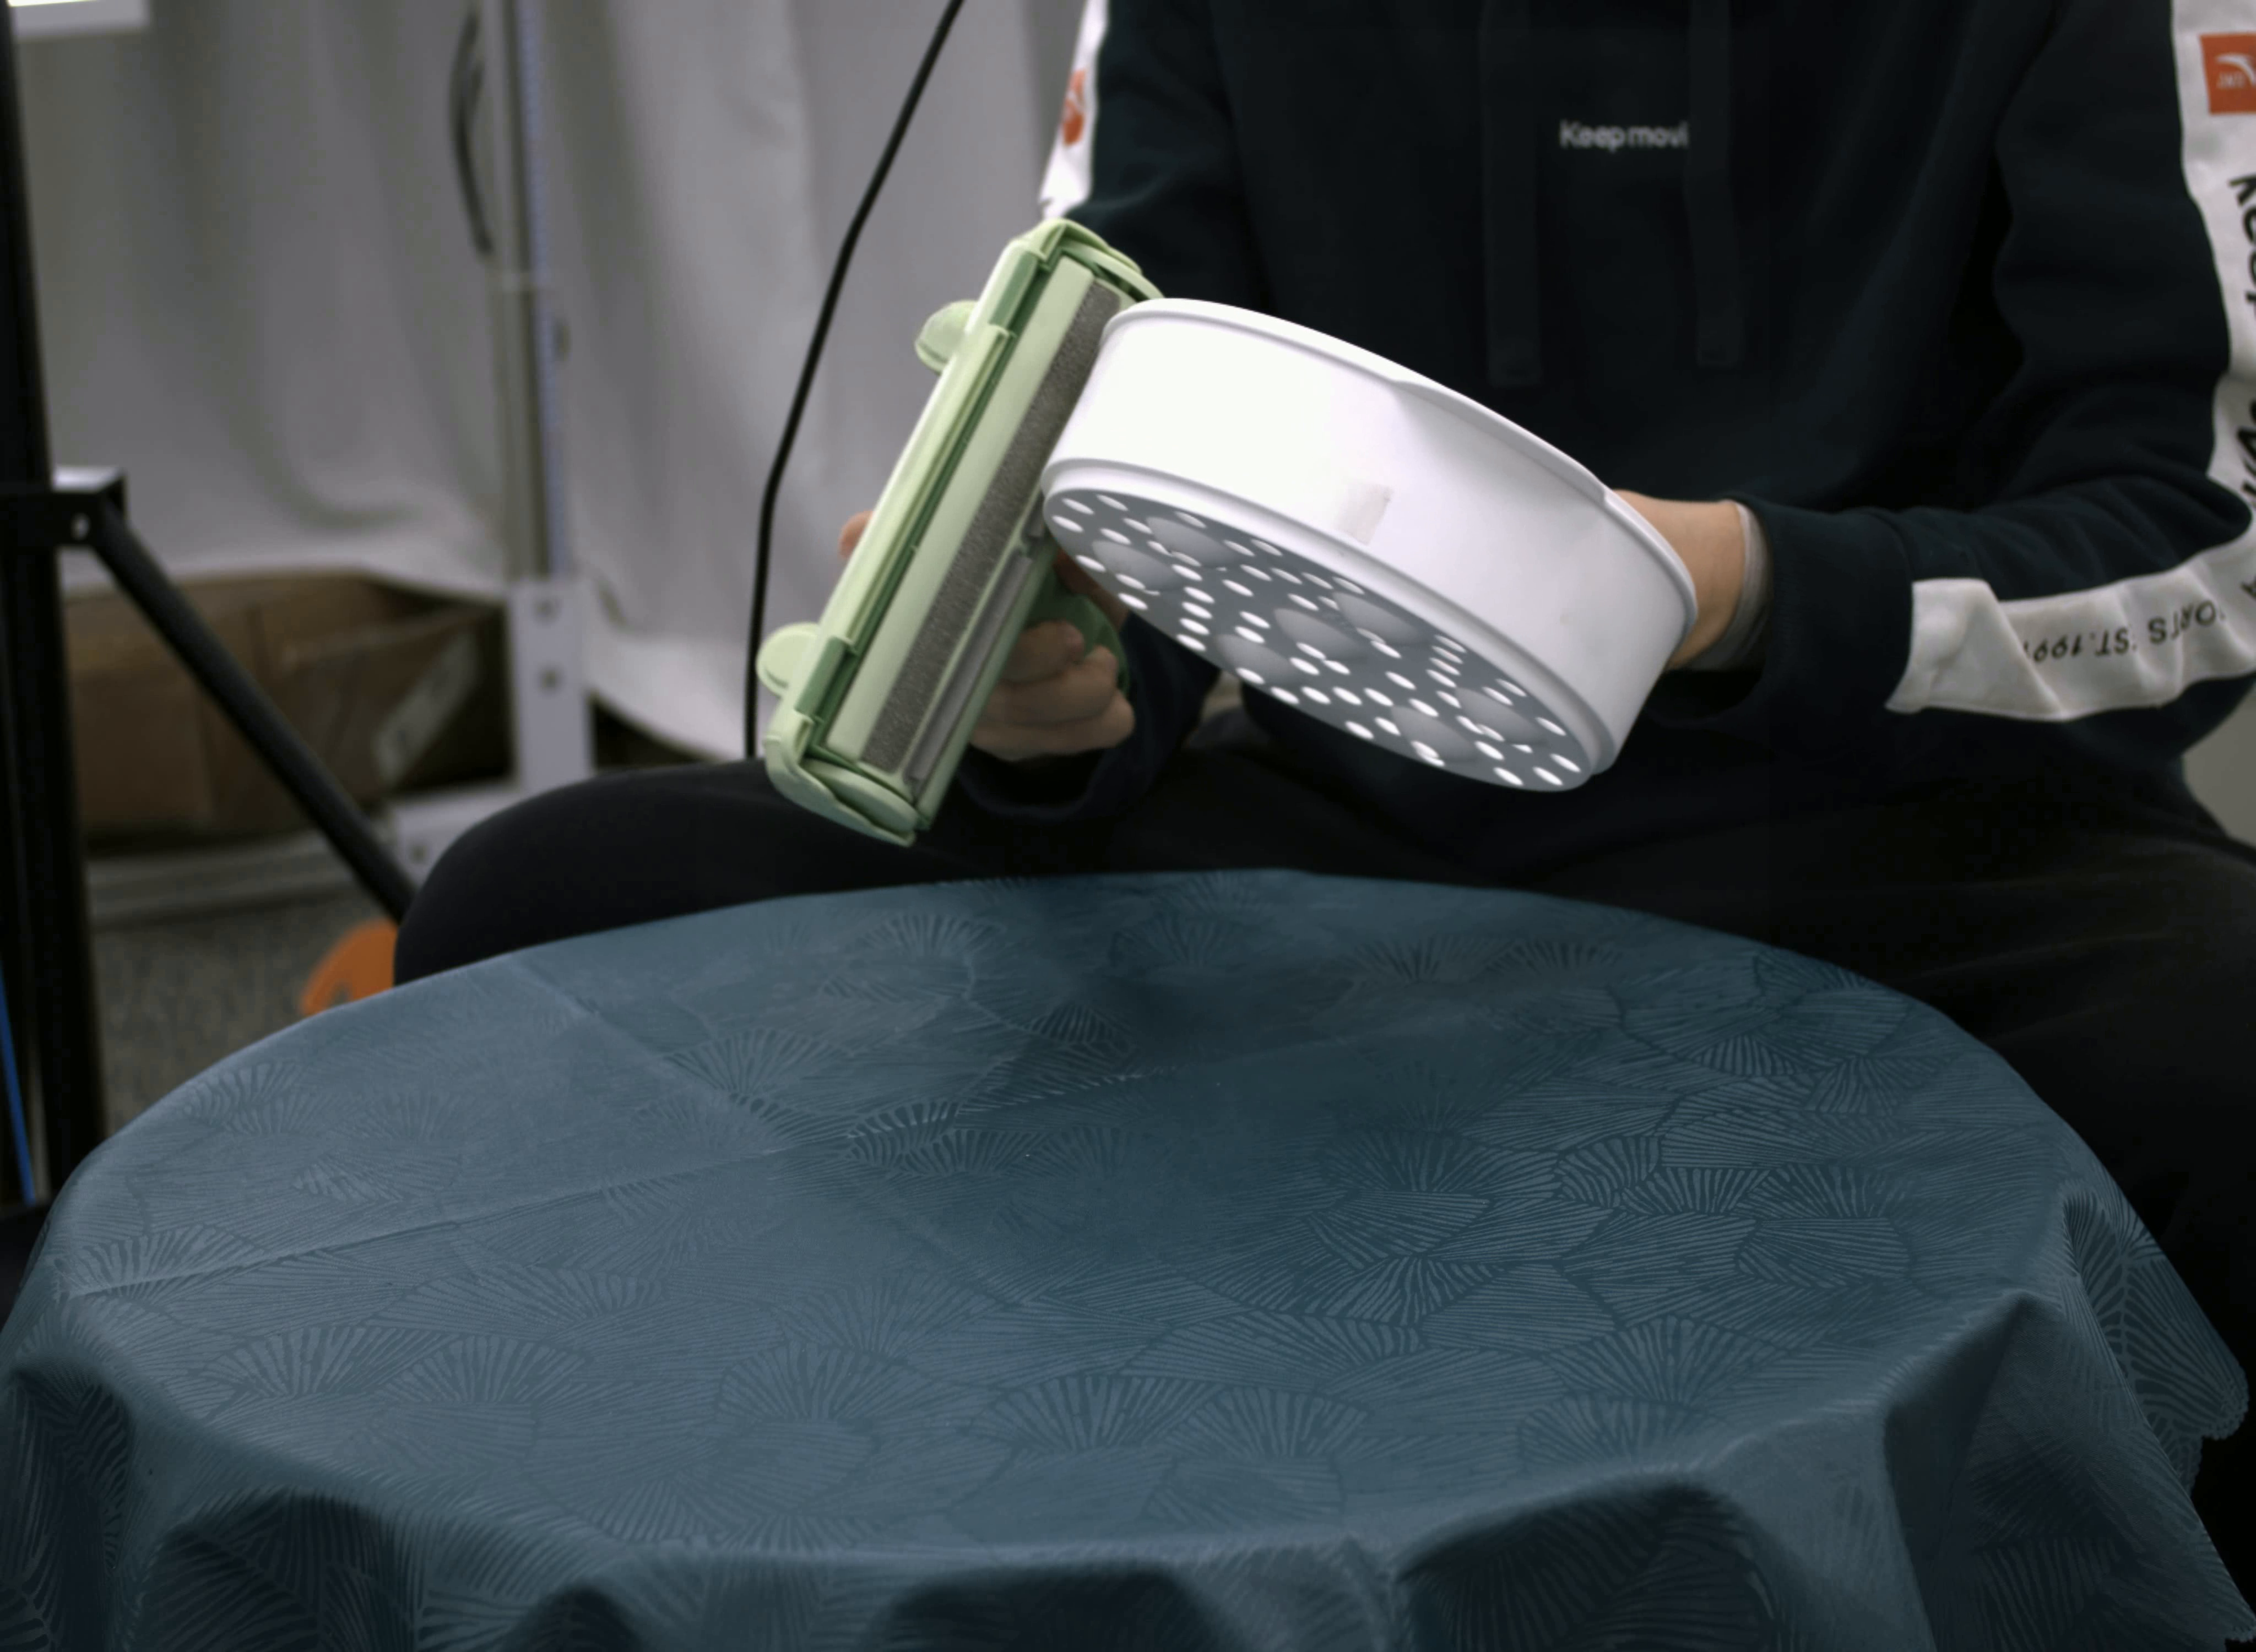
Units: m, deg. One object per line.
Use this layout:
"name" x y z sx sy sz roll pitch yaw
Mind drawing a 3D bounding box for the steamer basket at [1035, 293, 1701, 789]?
"steamer basket" 0.070 -0.081 1.603 0.199 0.069 0.233 29 -10 -11

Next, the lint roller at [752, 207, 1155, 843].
"lint roller" -0.051 -0.081 1.708 0.083 0.199 0.181 22 -11 13
